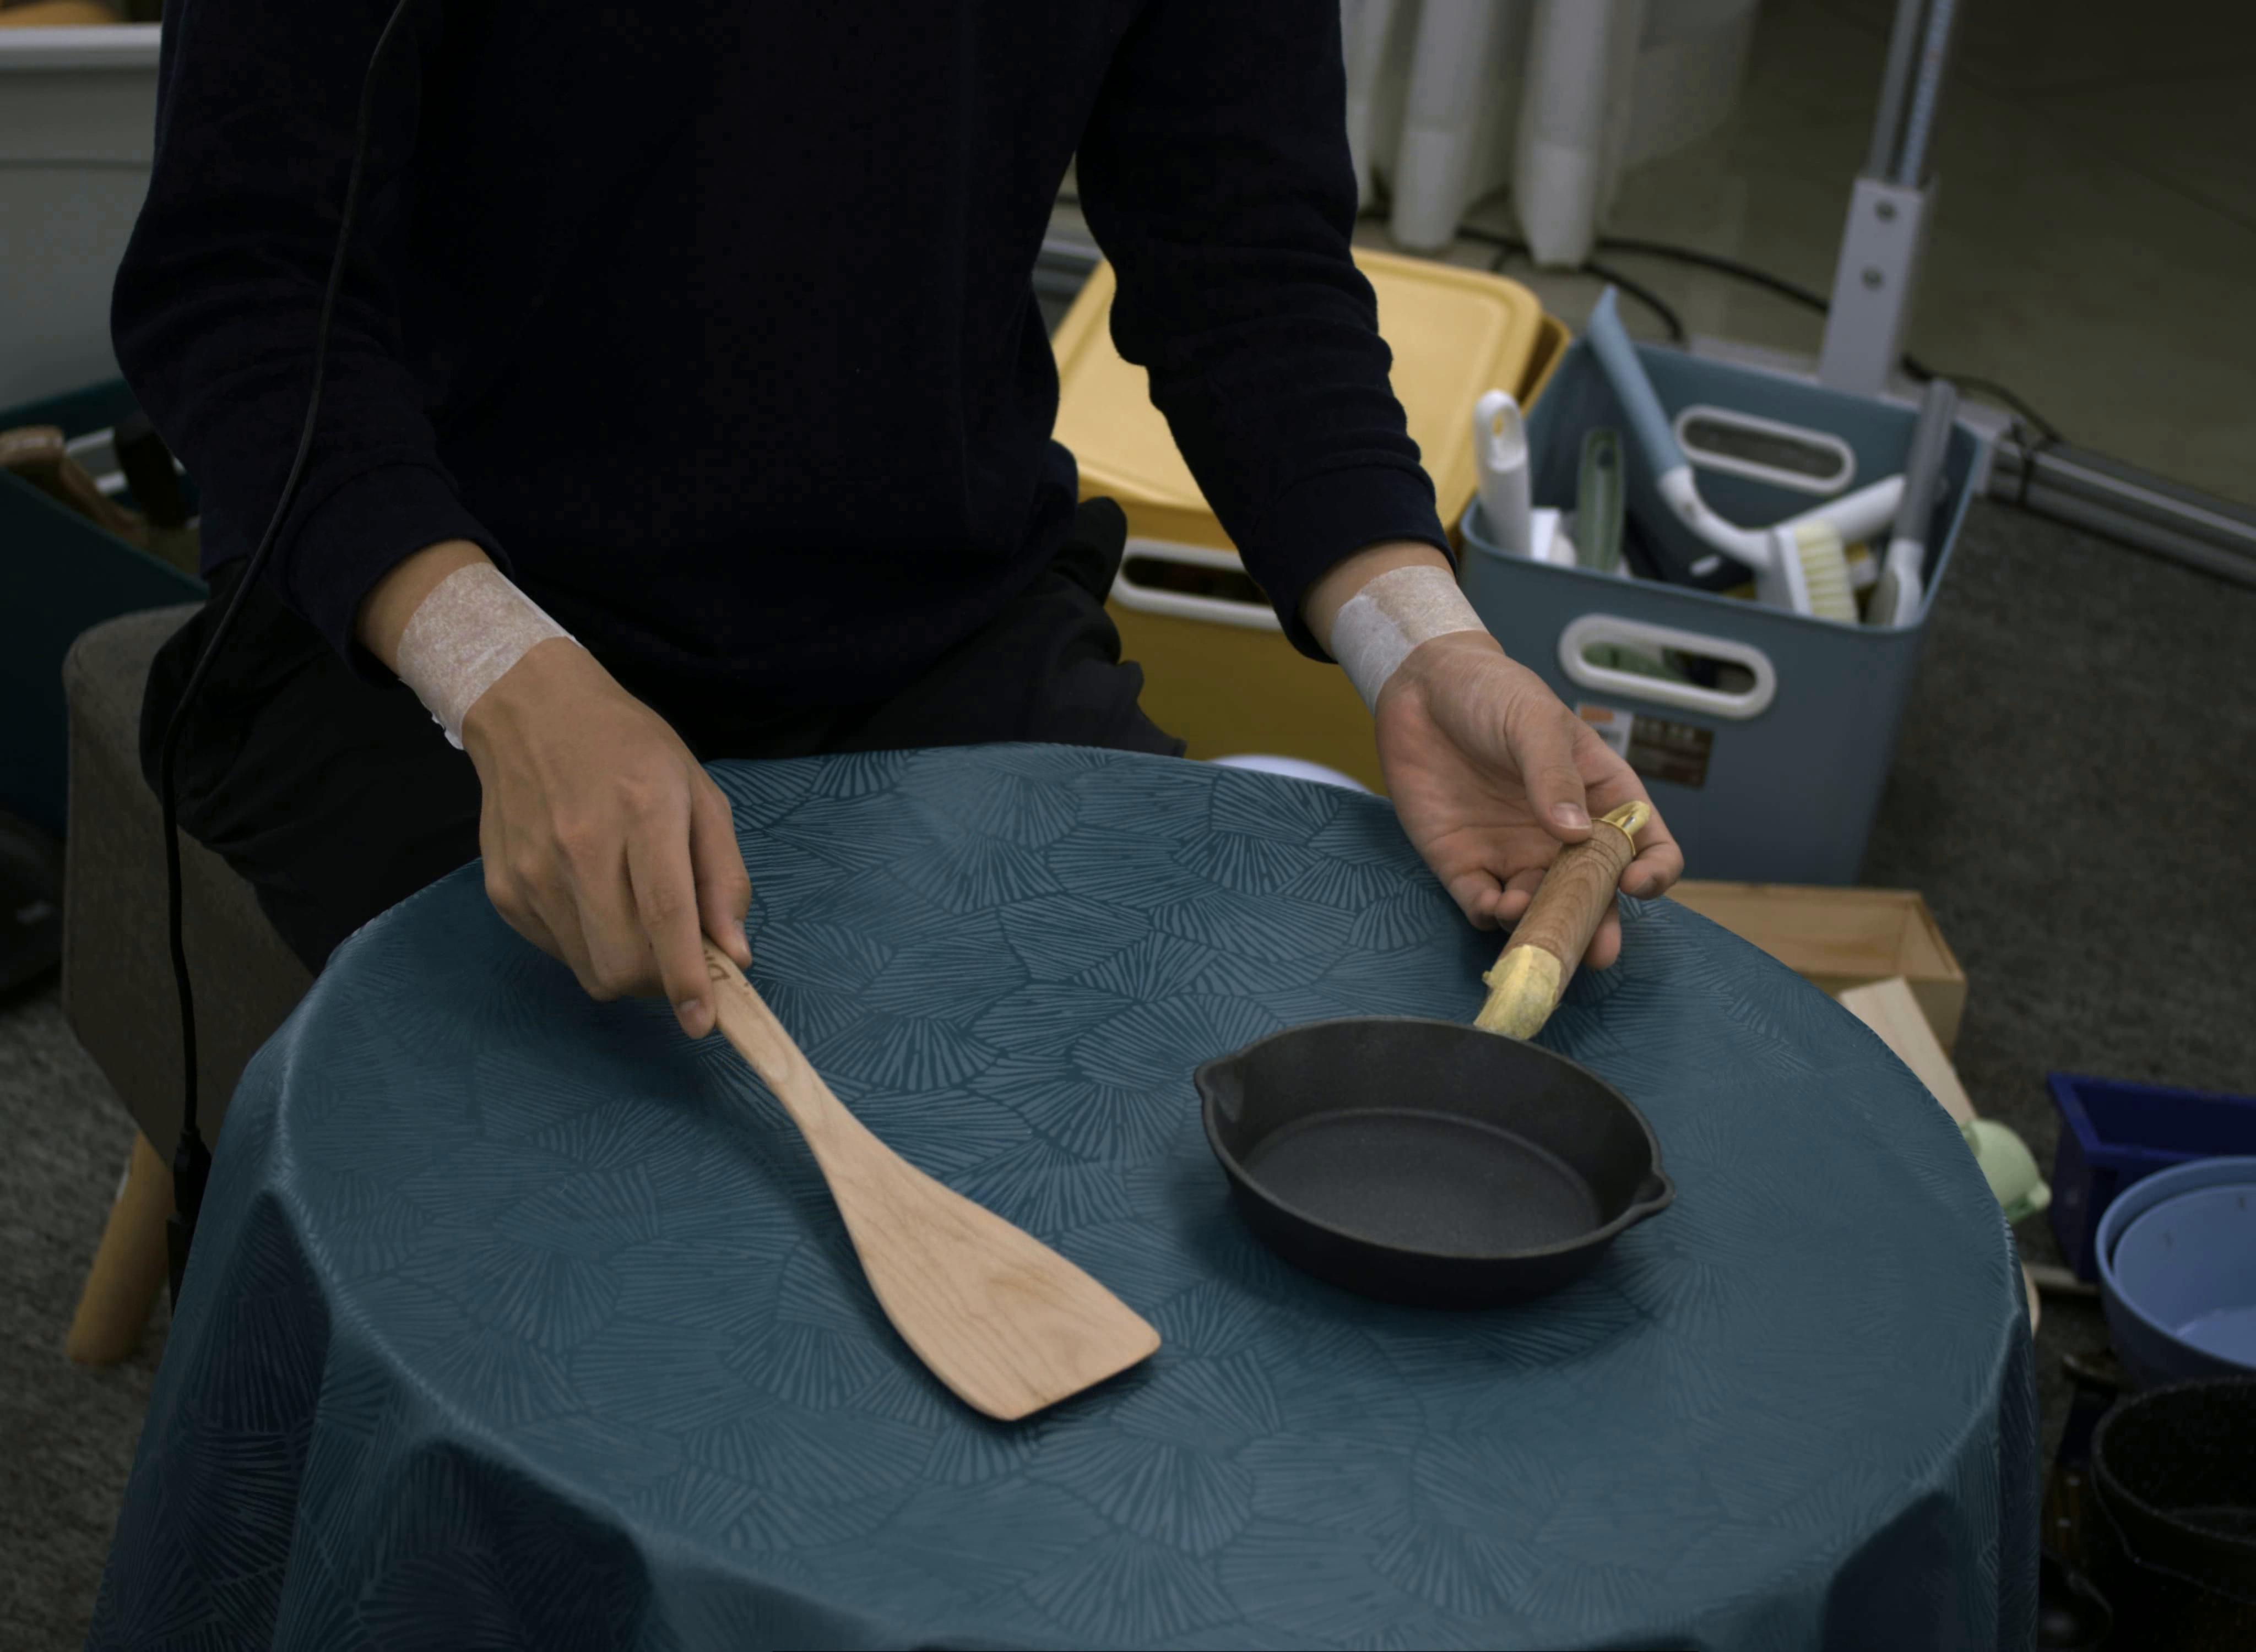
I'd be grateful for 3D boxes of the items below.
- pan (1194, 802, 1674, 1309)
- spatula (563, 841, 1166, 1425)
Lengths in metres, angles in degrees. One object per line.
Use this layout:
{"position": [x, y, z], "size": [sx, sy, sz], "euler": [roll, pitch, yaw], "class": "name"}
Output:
{"position": [0.132, 0.076, 1.870], "size": [0.169, 0.049, 0.324], "euler": [15, 30, 16], "class": "pan"}
{"position": [-0.101, 0.095, 1.781], "size": [0.079, 0.016, 0.330], "euler": [-12, 41, -35], "class": "spatula"}
